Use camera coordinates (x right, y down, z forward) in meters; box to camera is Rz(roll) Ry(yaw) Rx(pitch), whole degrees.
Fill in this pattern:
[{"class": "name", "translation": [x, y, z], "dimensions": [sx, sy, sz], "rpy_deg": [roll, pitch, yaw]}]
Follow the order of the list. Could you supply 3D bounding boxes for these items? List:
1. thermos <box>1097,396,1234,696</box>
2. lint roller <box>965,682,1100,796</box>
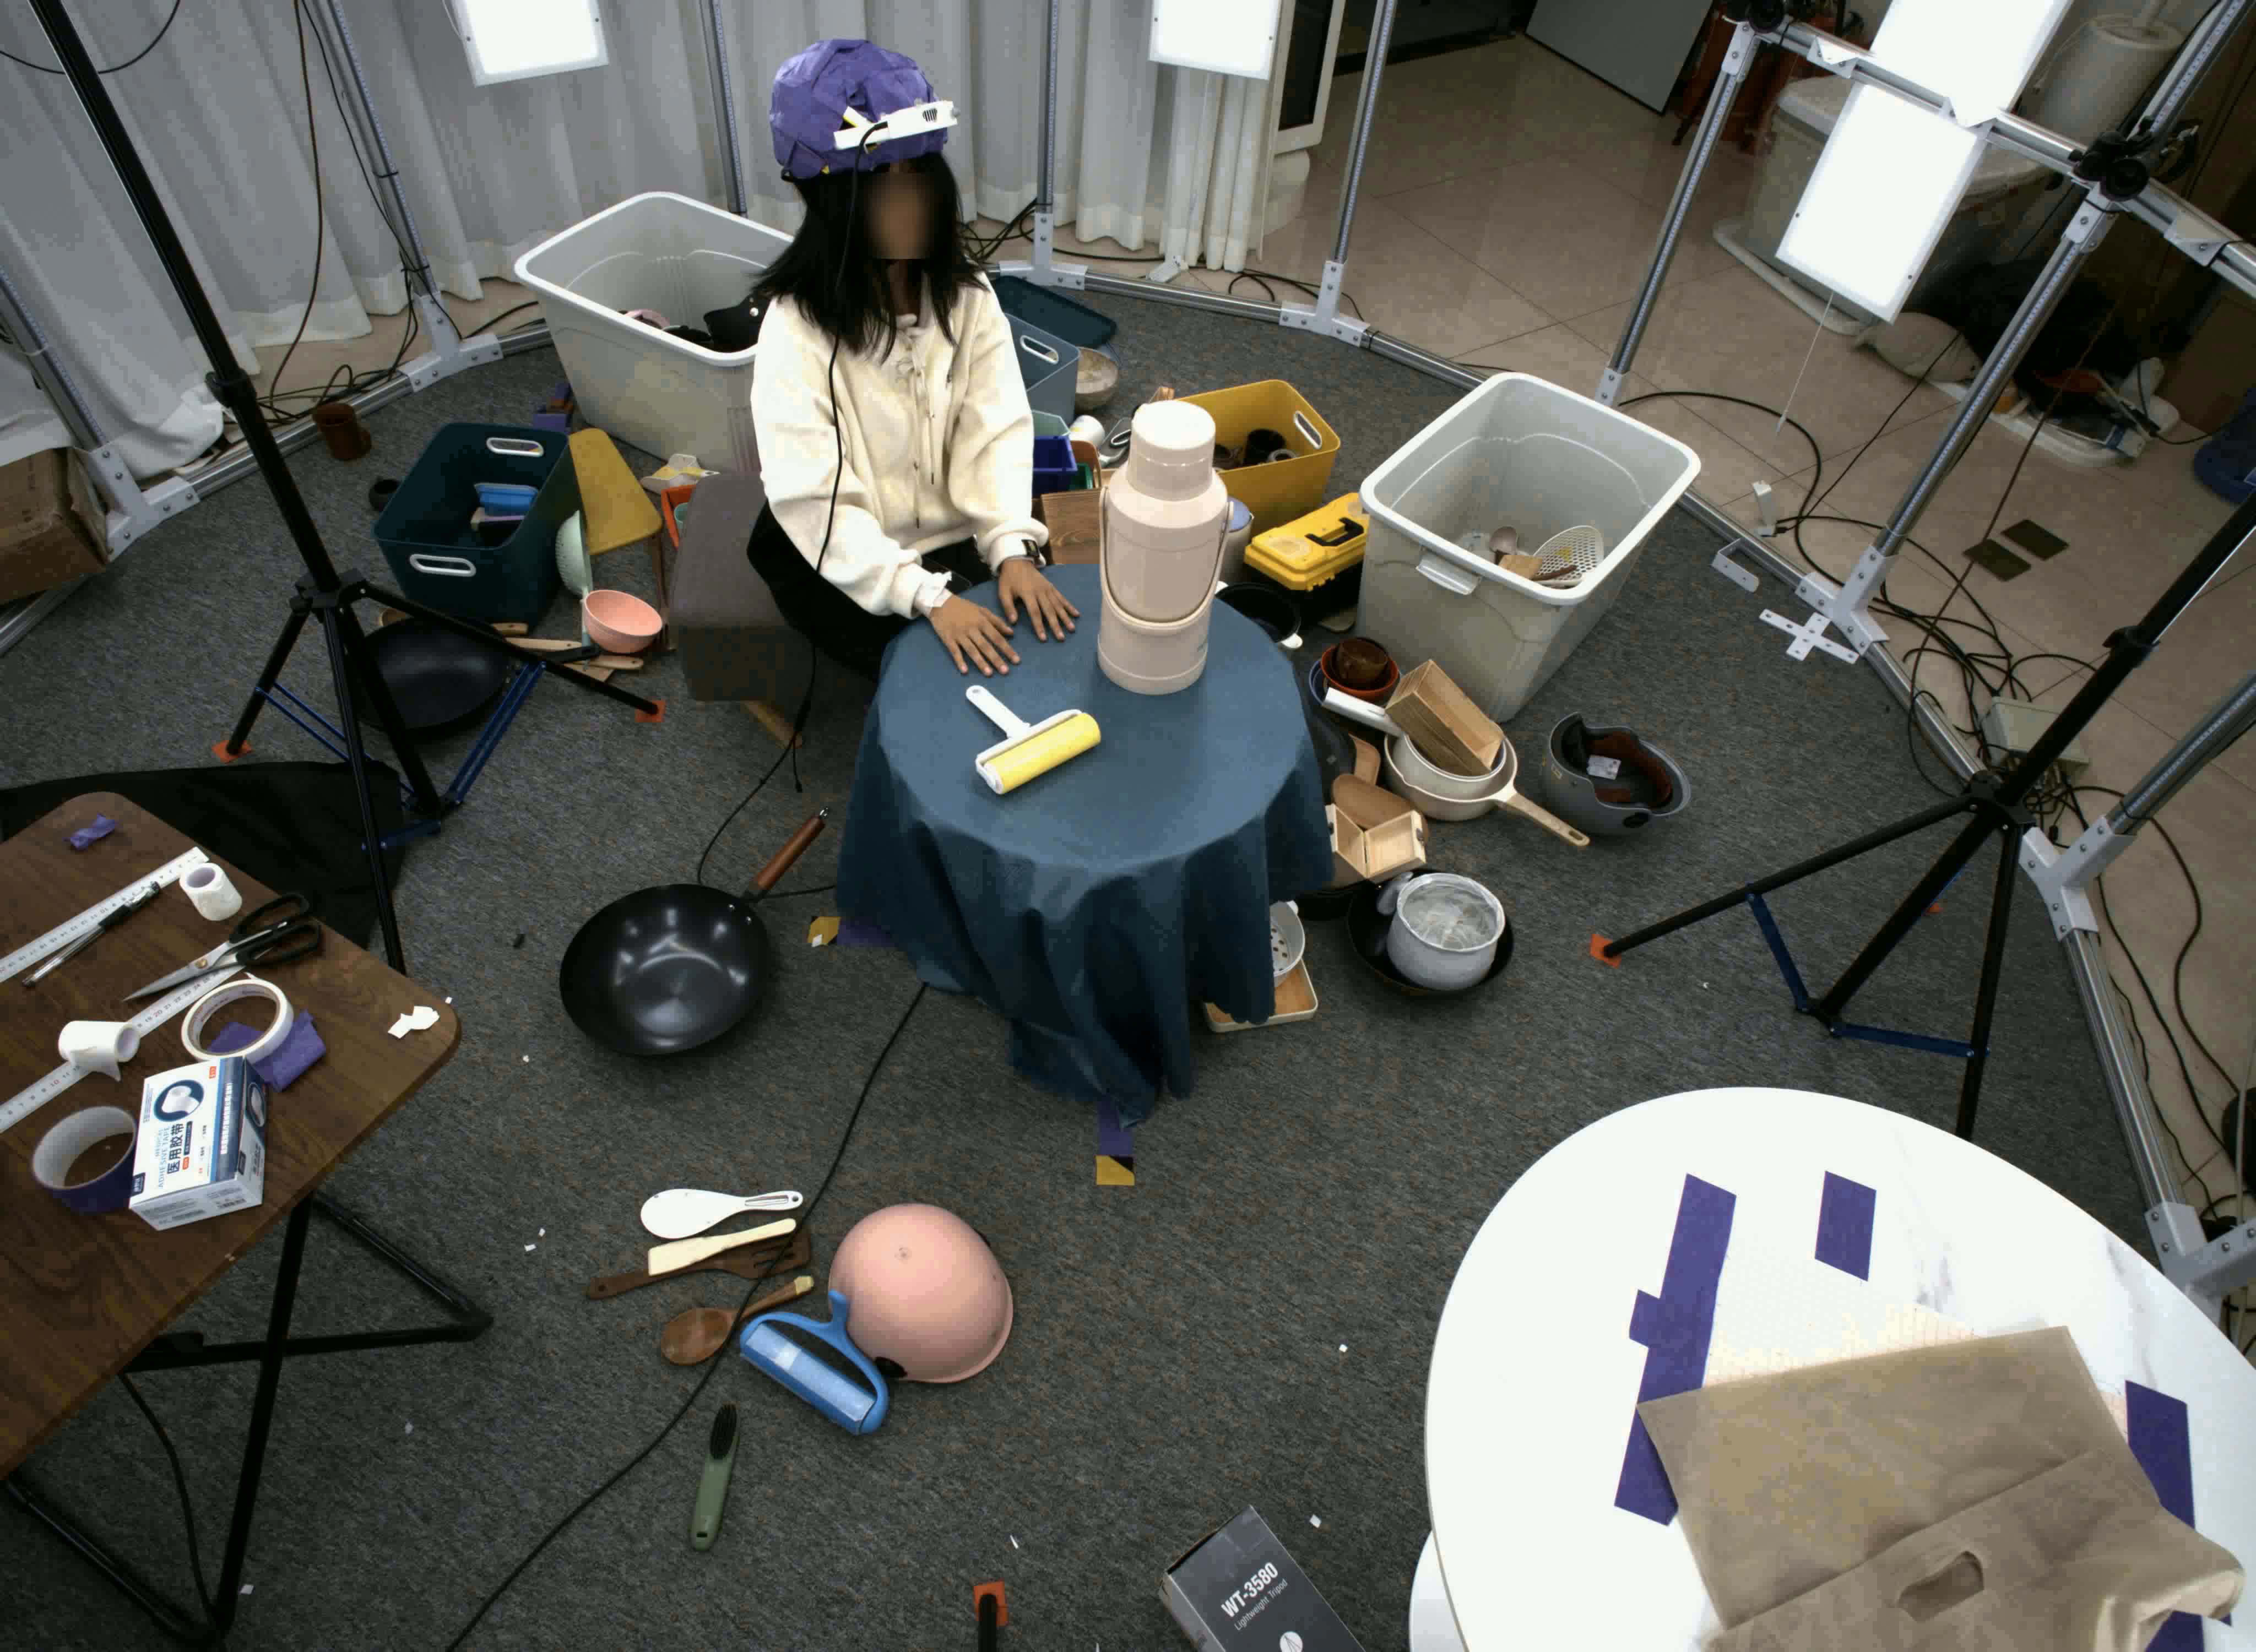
[{"class": "thermos", "translation": [0.048, -0.383, 1.750], "dimensions": [0.175, 0.396, 0.212], "rpy_deg": [6, 49, 2]}, {"class": "lint roller", "translation": [-0.159, -0.143, 1.749], "dimensions": [0.175, 0.050, 0.195], "rpy_deg": [-30, 63, -27]}]
